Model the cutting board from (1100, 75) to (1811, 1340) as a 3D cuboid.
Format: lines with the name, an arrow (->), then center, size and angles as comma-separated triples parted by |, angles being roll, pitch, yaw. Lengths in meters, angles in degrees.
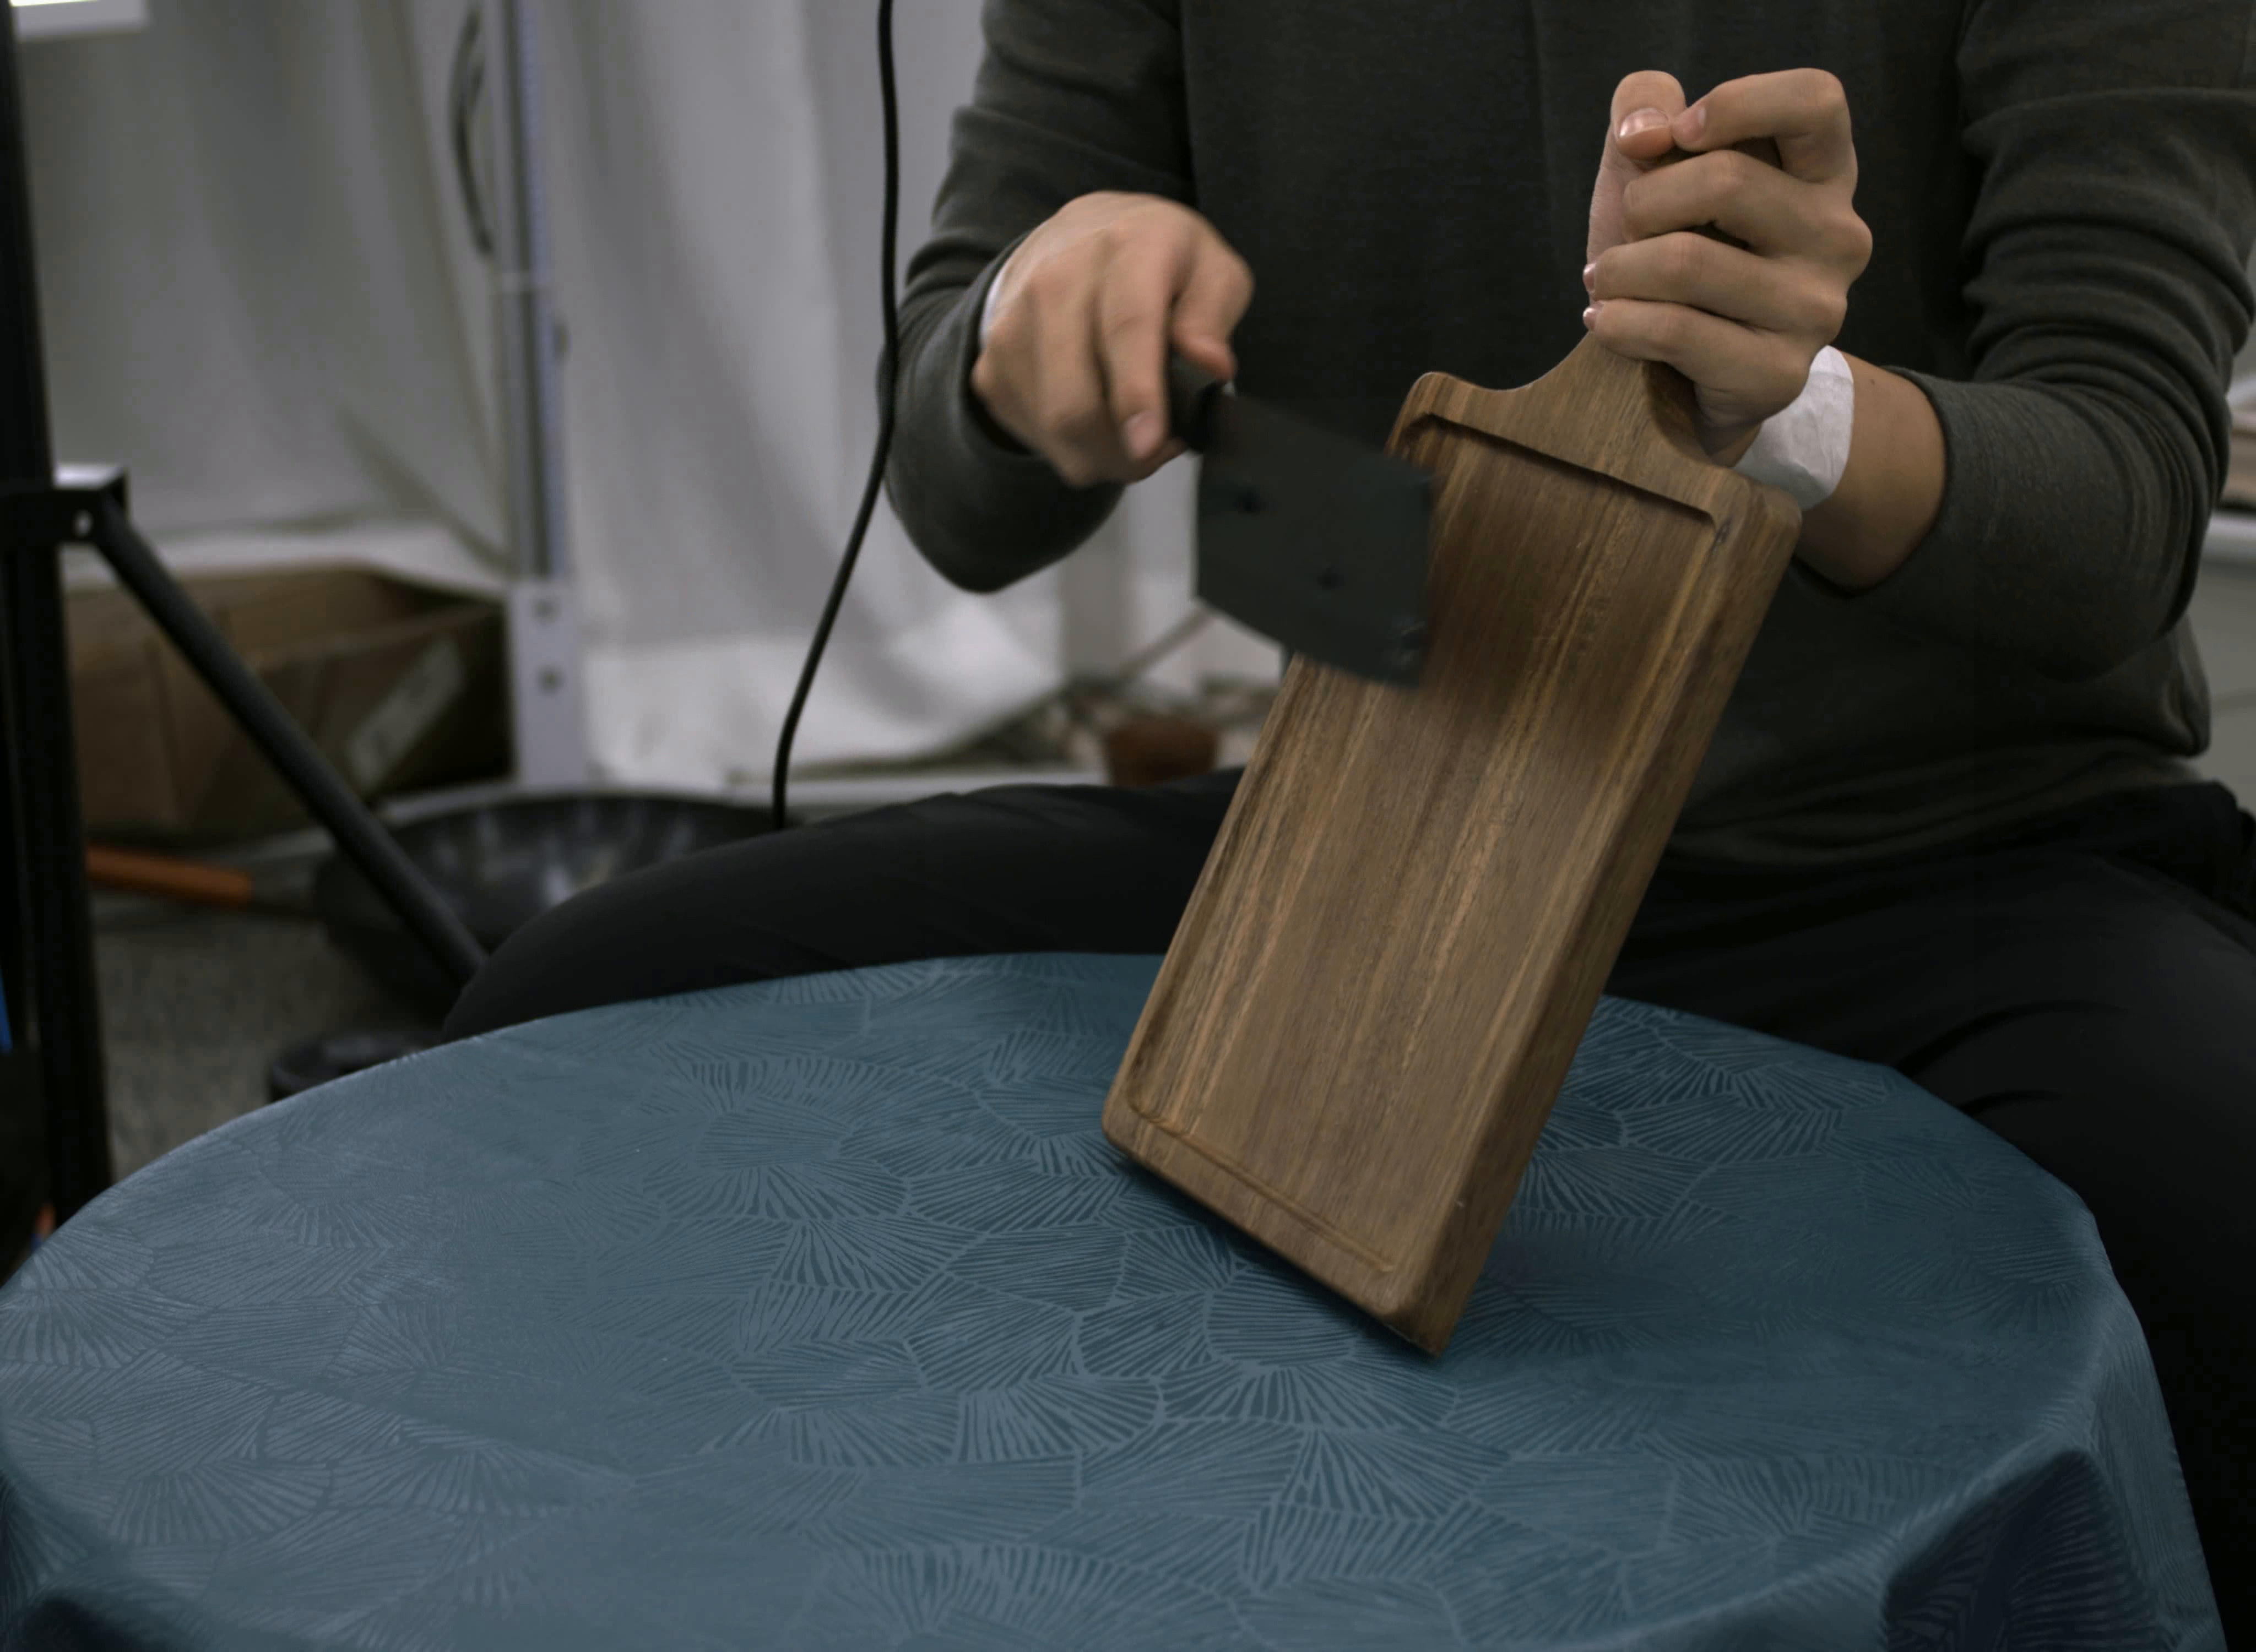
cutting board -> 0.106, -0.043, 1.499 | 0.022, 0.353, 0.205 | 22, 3, -29

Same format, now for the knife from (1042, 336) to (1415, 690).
knife -> 0.028, -0.097, 1.553 | 0.020, 0.081, 0.307 | 0, 16, -19
